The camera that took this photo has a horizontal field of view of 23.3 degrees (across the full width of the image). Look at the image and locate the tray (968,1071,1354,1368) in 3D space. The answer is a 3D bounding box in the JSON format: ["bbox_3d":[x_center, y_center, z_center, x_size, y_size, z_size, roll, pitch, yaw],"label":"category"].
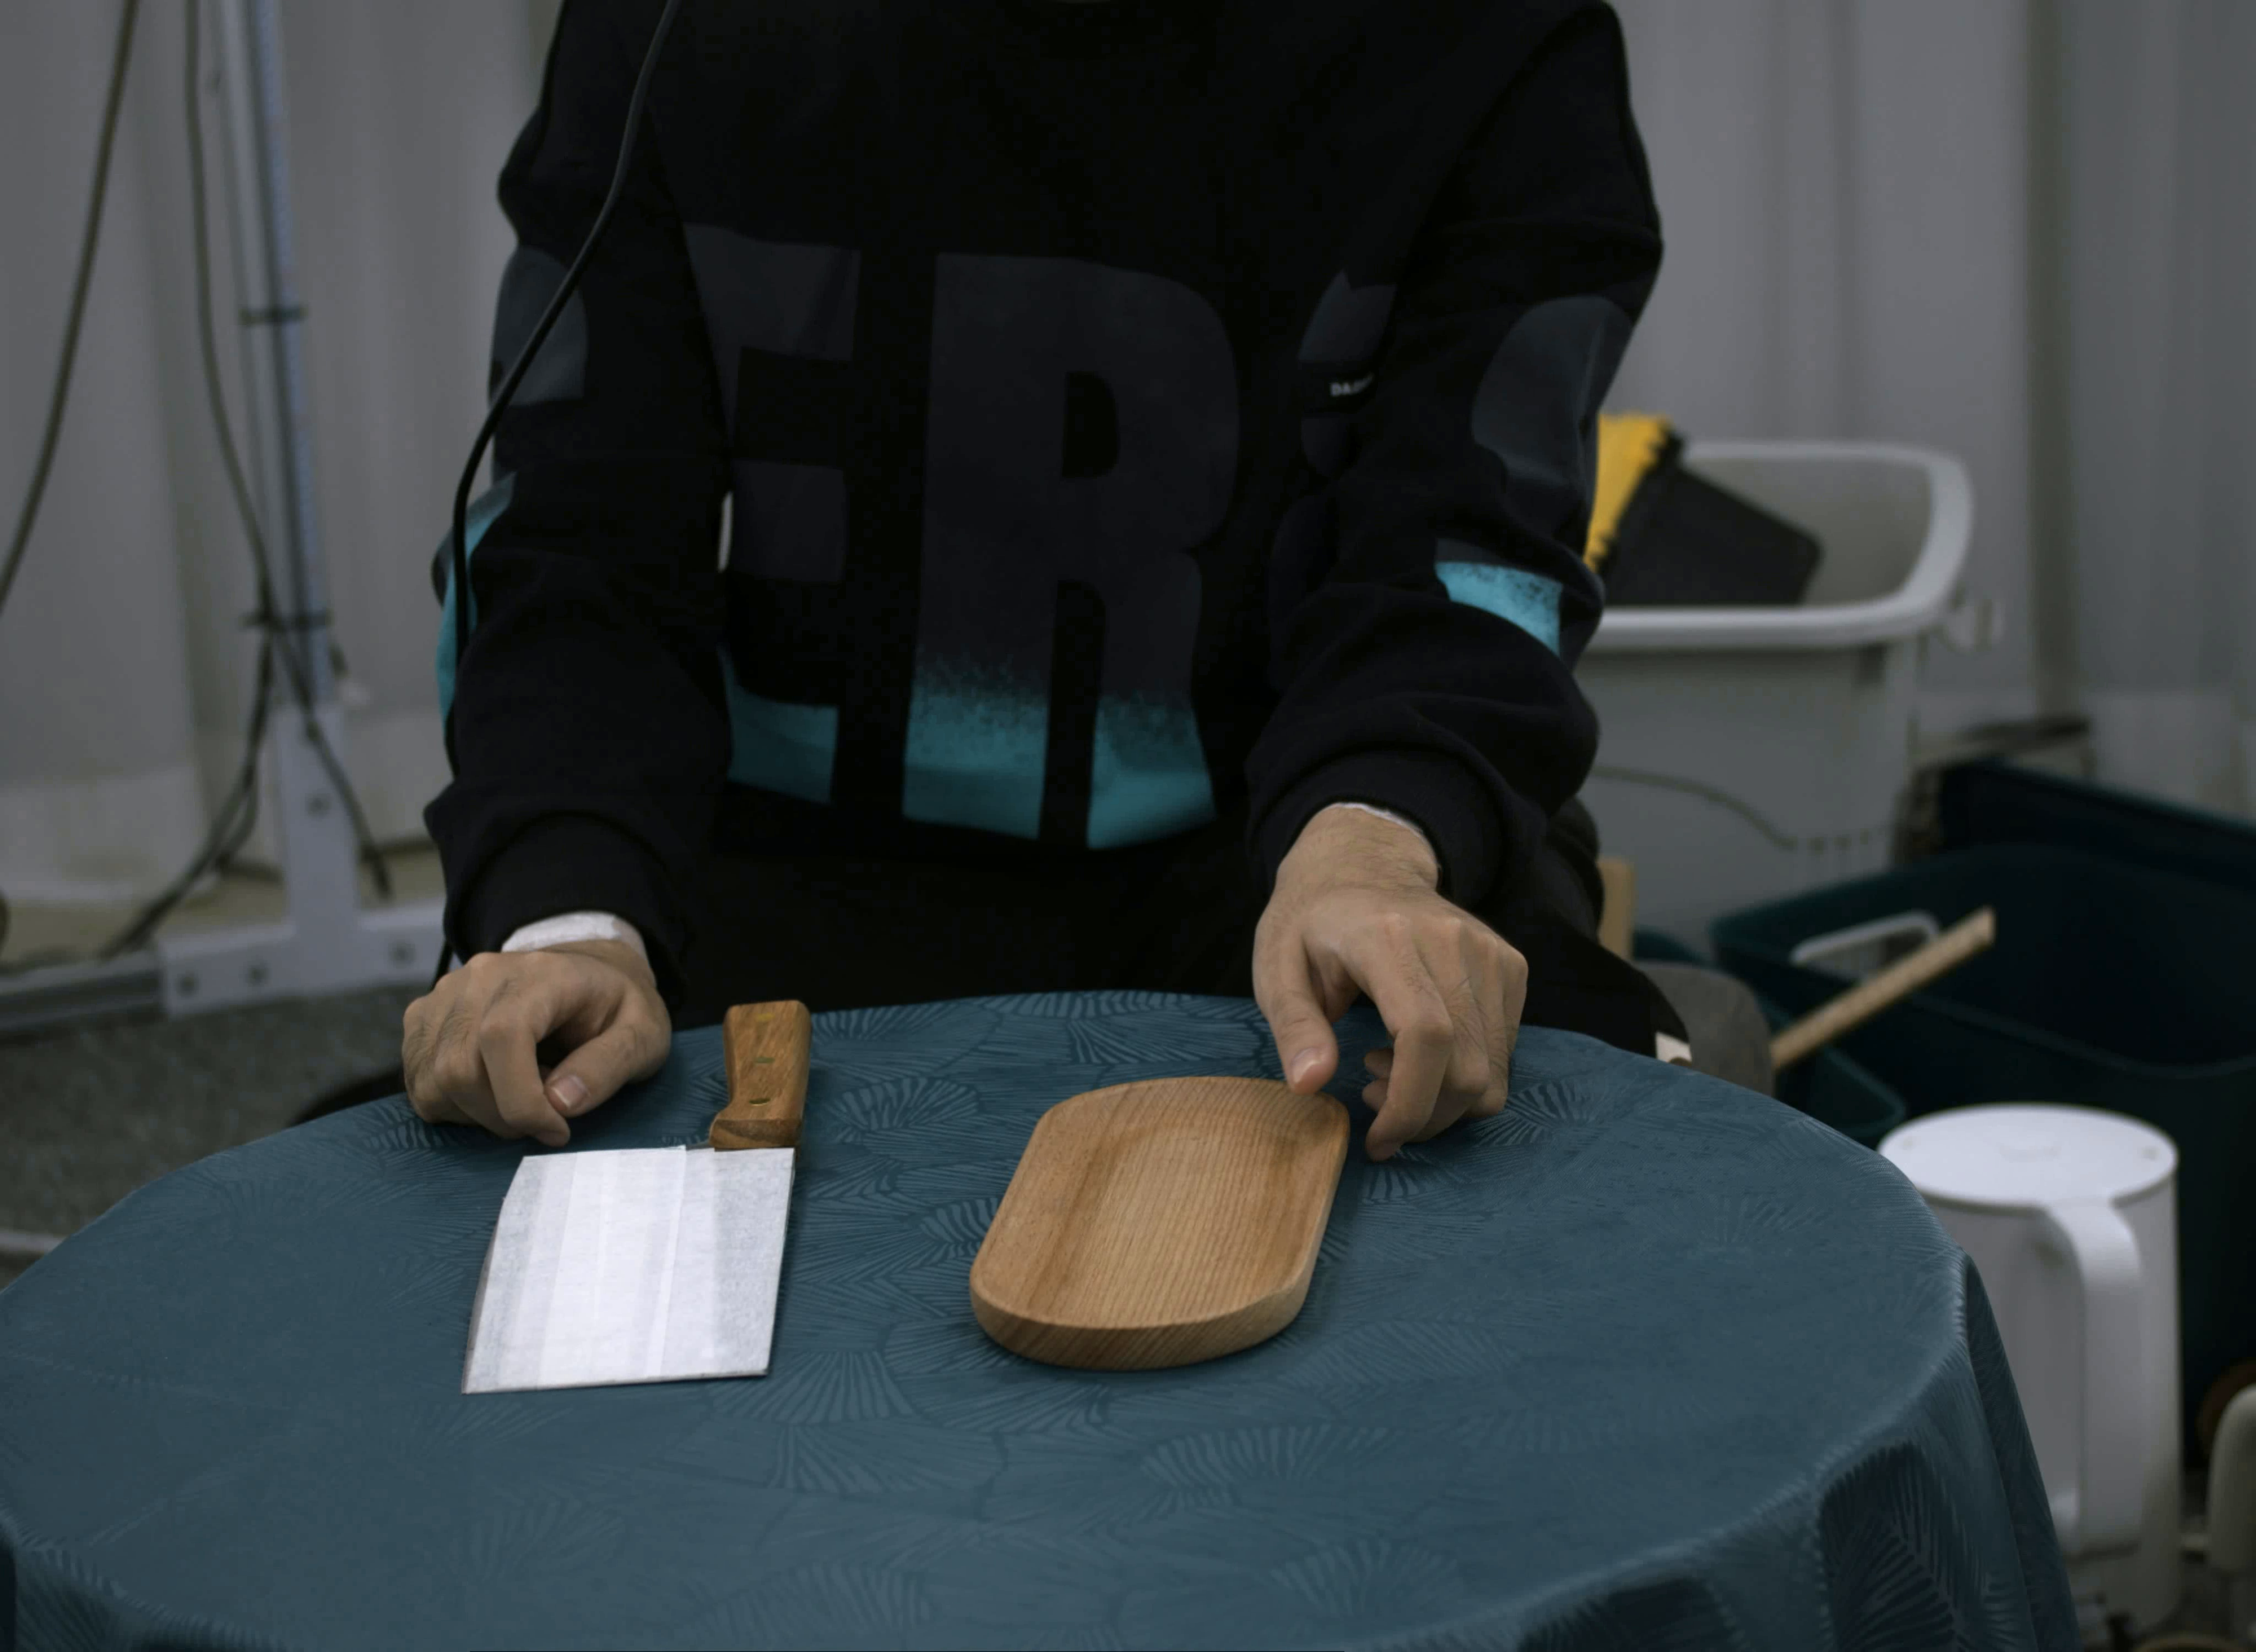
[{"bbox_3d":[0.012,0.118,1.669,0.101,0.020,0.232,0,15,8],"label":"tray"}]

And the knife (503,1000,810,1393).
[{"bbox_3d":[-0.148,0.115,1.715,0.092,0.021,0.308,-5,17,1],"label":"knife"}]
